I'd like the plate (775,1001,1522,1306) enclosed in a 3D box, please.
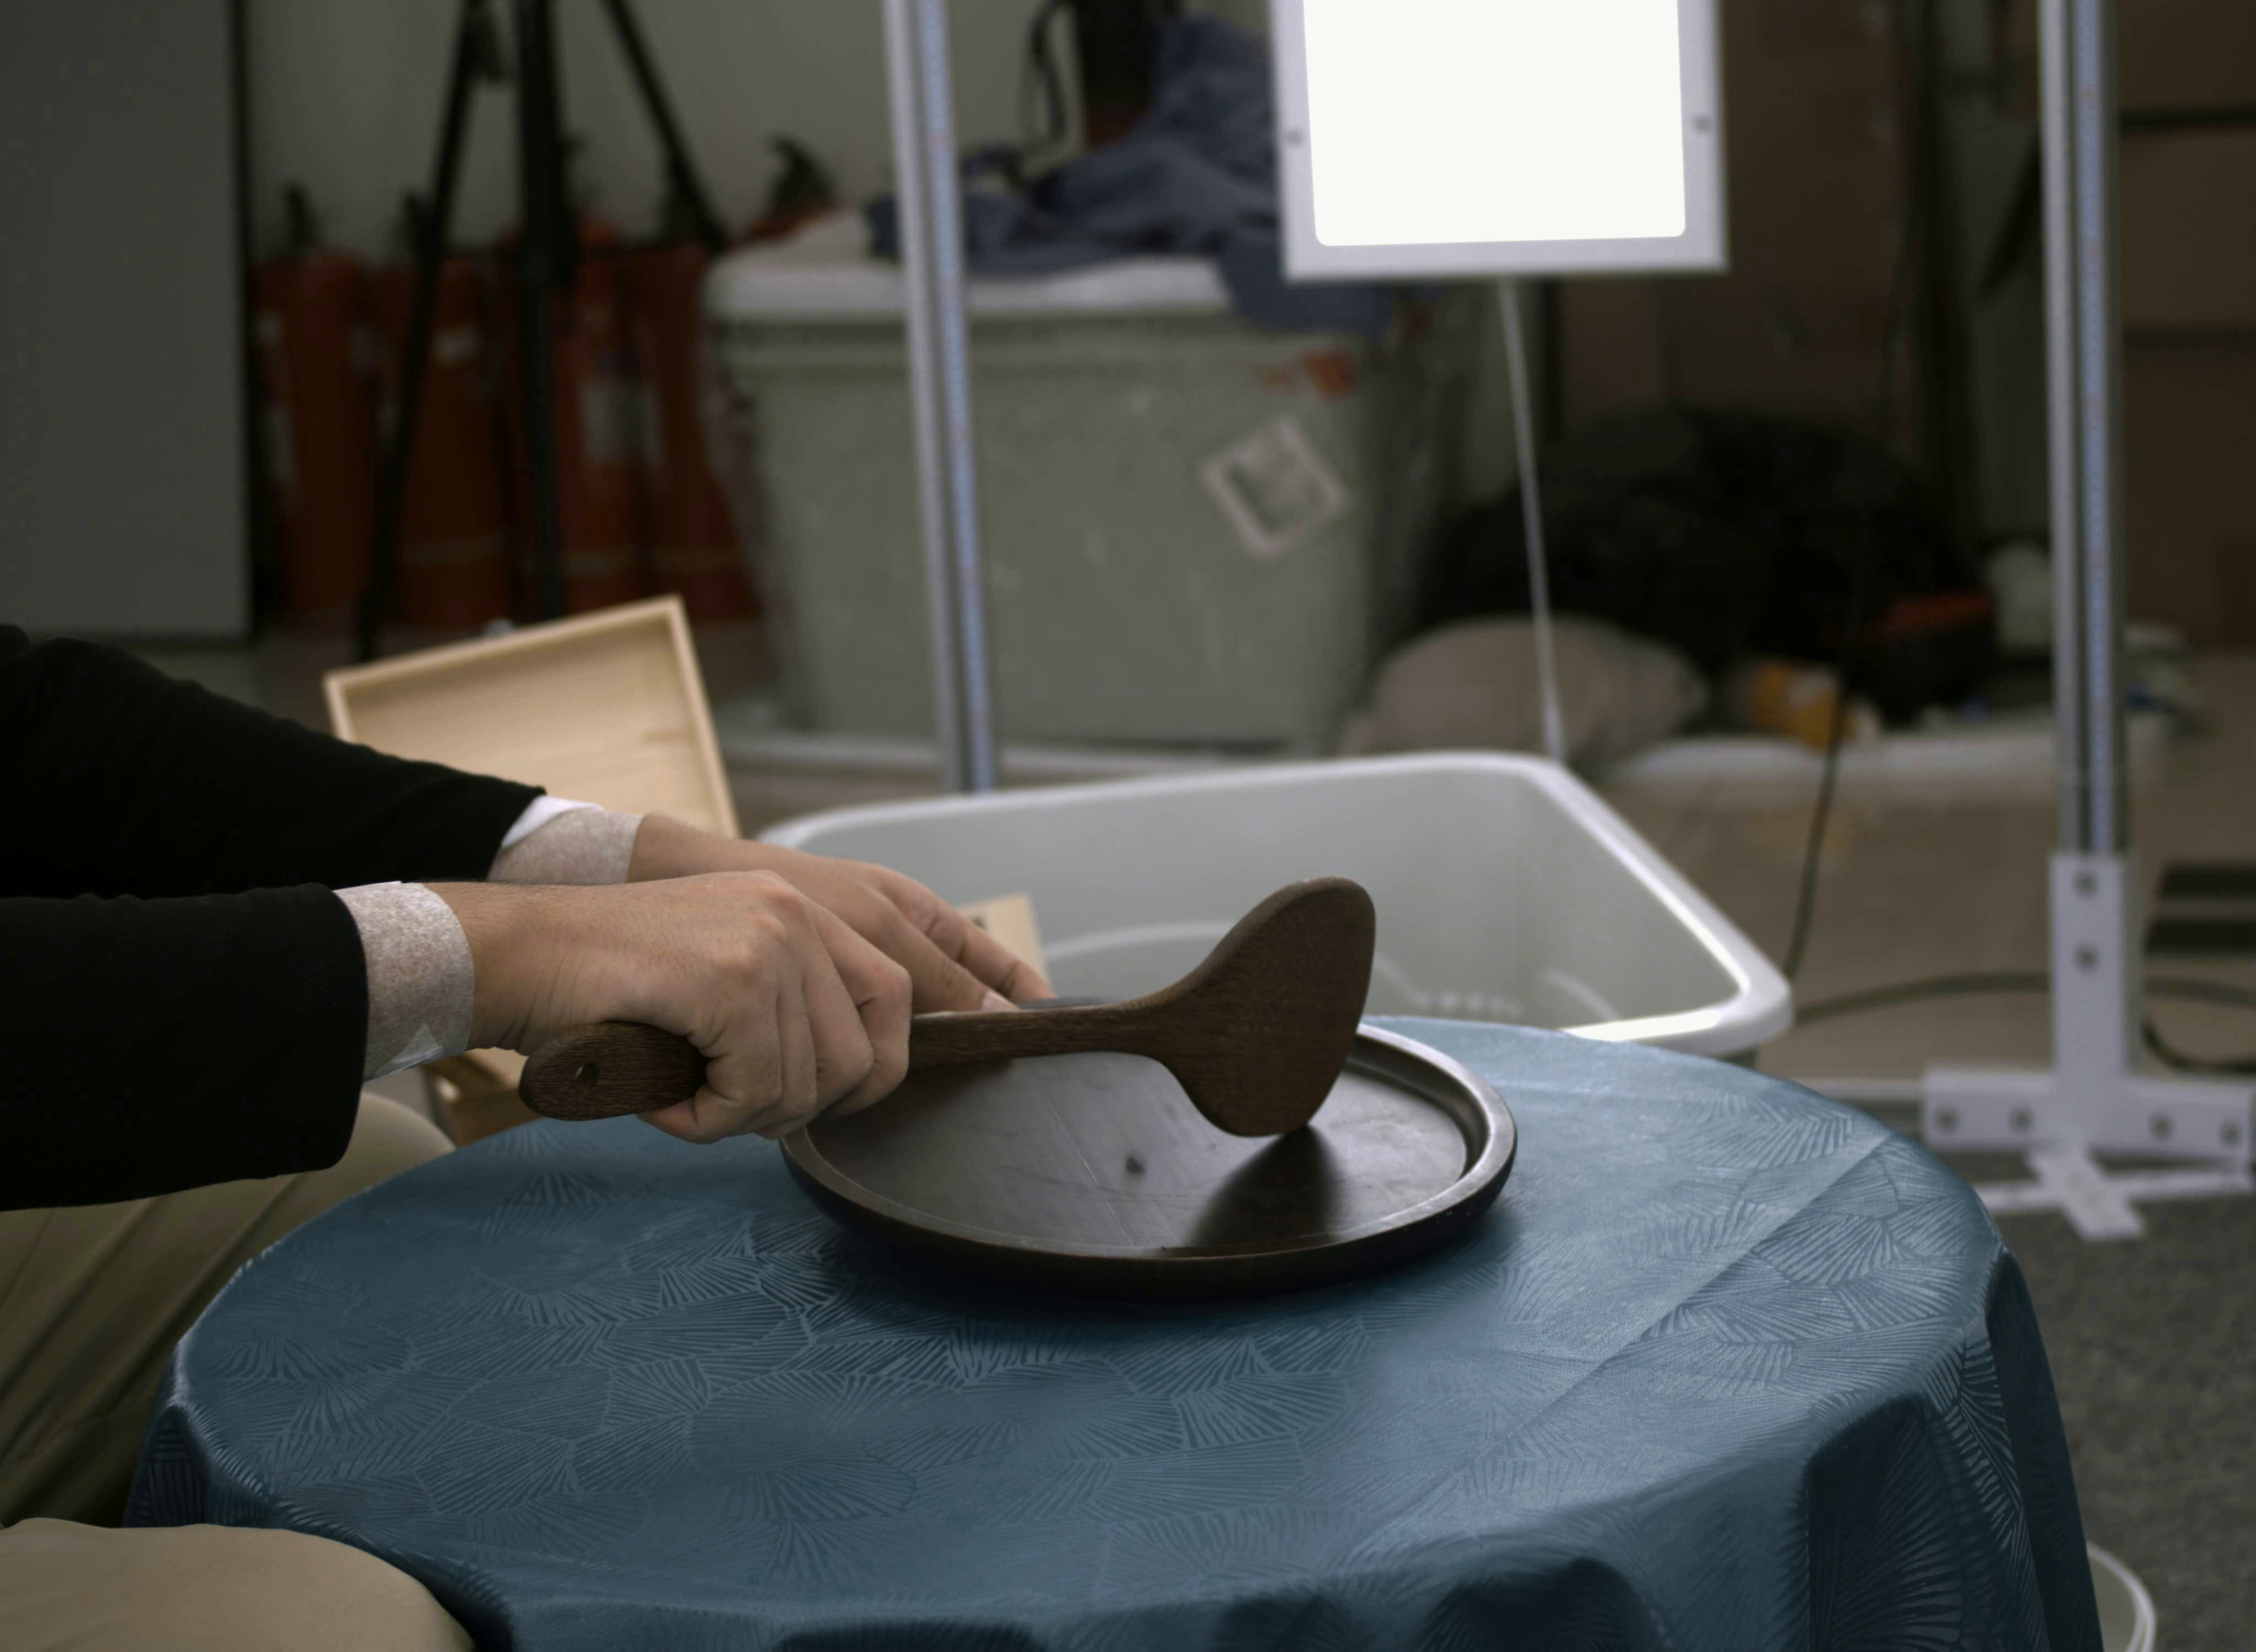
[{"bbox_3d":[0.007,0.108,1.868,0.254,0.029,0.254,0,19,-2],"label":"plate"}]

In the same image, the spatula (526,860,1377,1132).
[{"bbox_3d":[-0.047,0.064,1.752,0.376,0.097,0.016,-3,22,-46],"label":"spatula"}]
